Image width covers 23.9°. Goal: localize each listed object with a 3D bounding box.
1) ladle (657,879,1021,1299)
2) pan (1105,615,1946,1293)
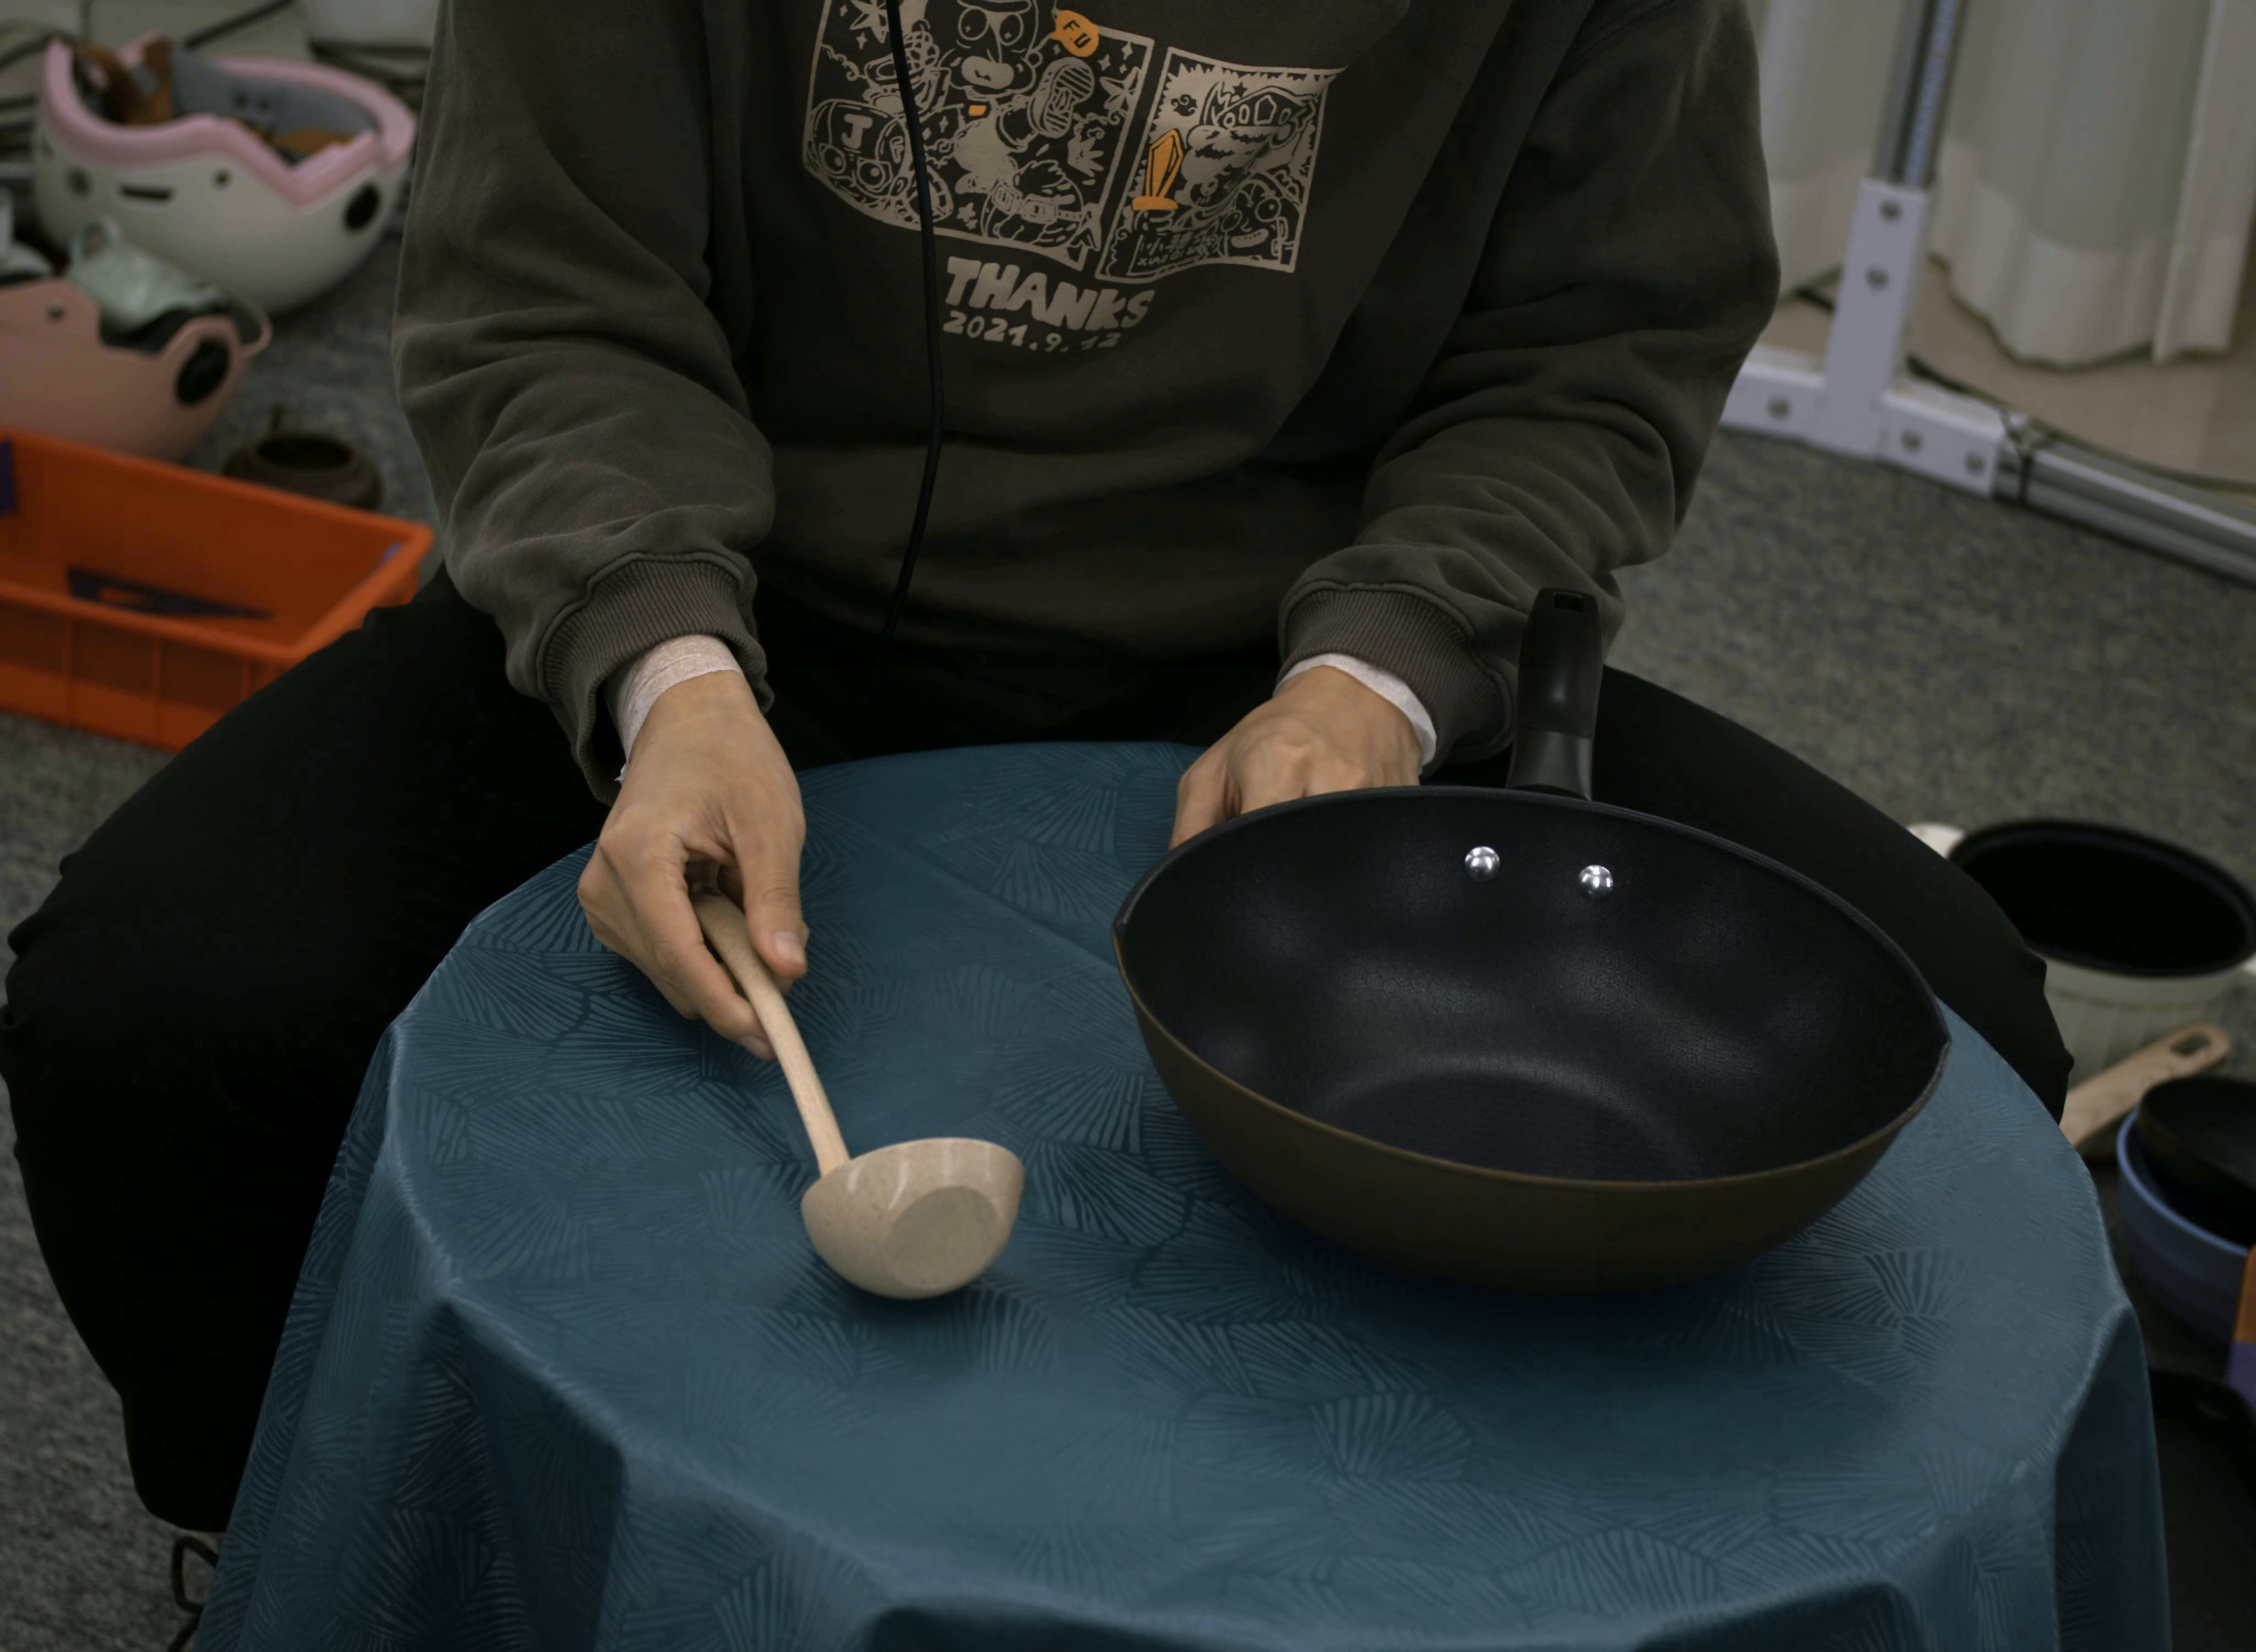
[{"bbox_3d":[-0.107,0.063,1.791,0.071,0.072,0.257,-2,35,-26],"label":"ladle"},{"bbox_3d":[0.141,0.045,1.900,0.287,0.086,0.465,8,25,4],"label":"pan"}]
